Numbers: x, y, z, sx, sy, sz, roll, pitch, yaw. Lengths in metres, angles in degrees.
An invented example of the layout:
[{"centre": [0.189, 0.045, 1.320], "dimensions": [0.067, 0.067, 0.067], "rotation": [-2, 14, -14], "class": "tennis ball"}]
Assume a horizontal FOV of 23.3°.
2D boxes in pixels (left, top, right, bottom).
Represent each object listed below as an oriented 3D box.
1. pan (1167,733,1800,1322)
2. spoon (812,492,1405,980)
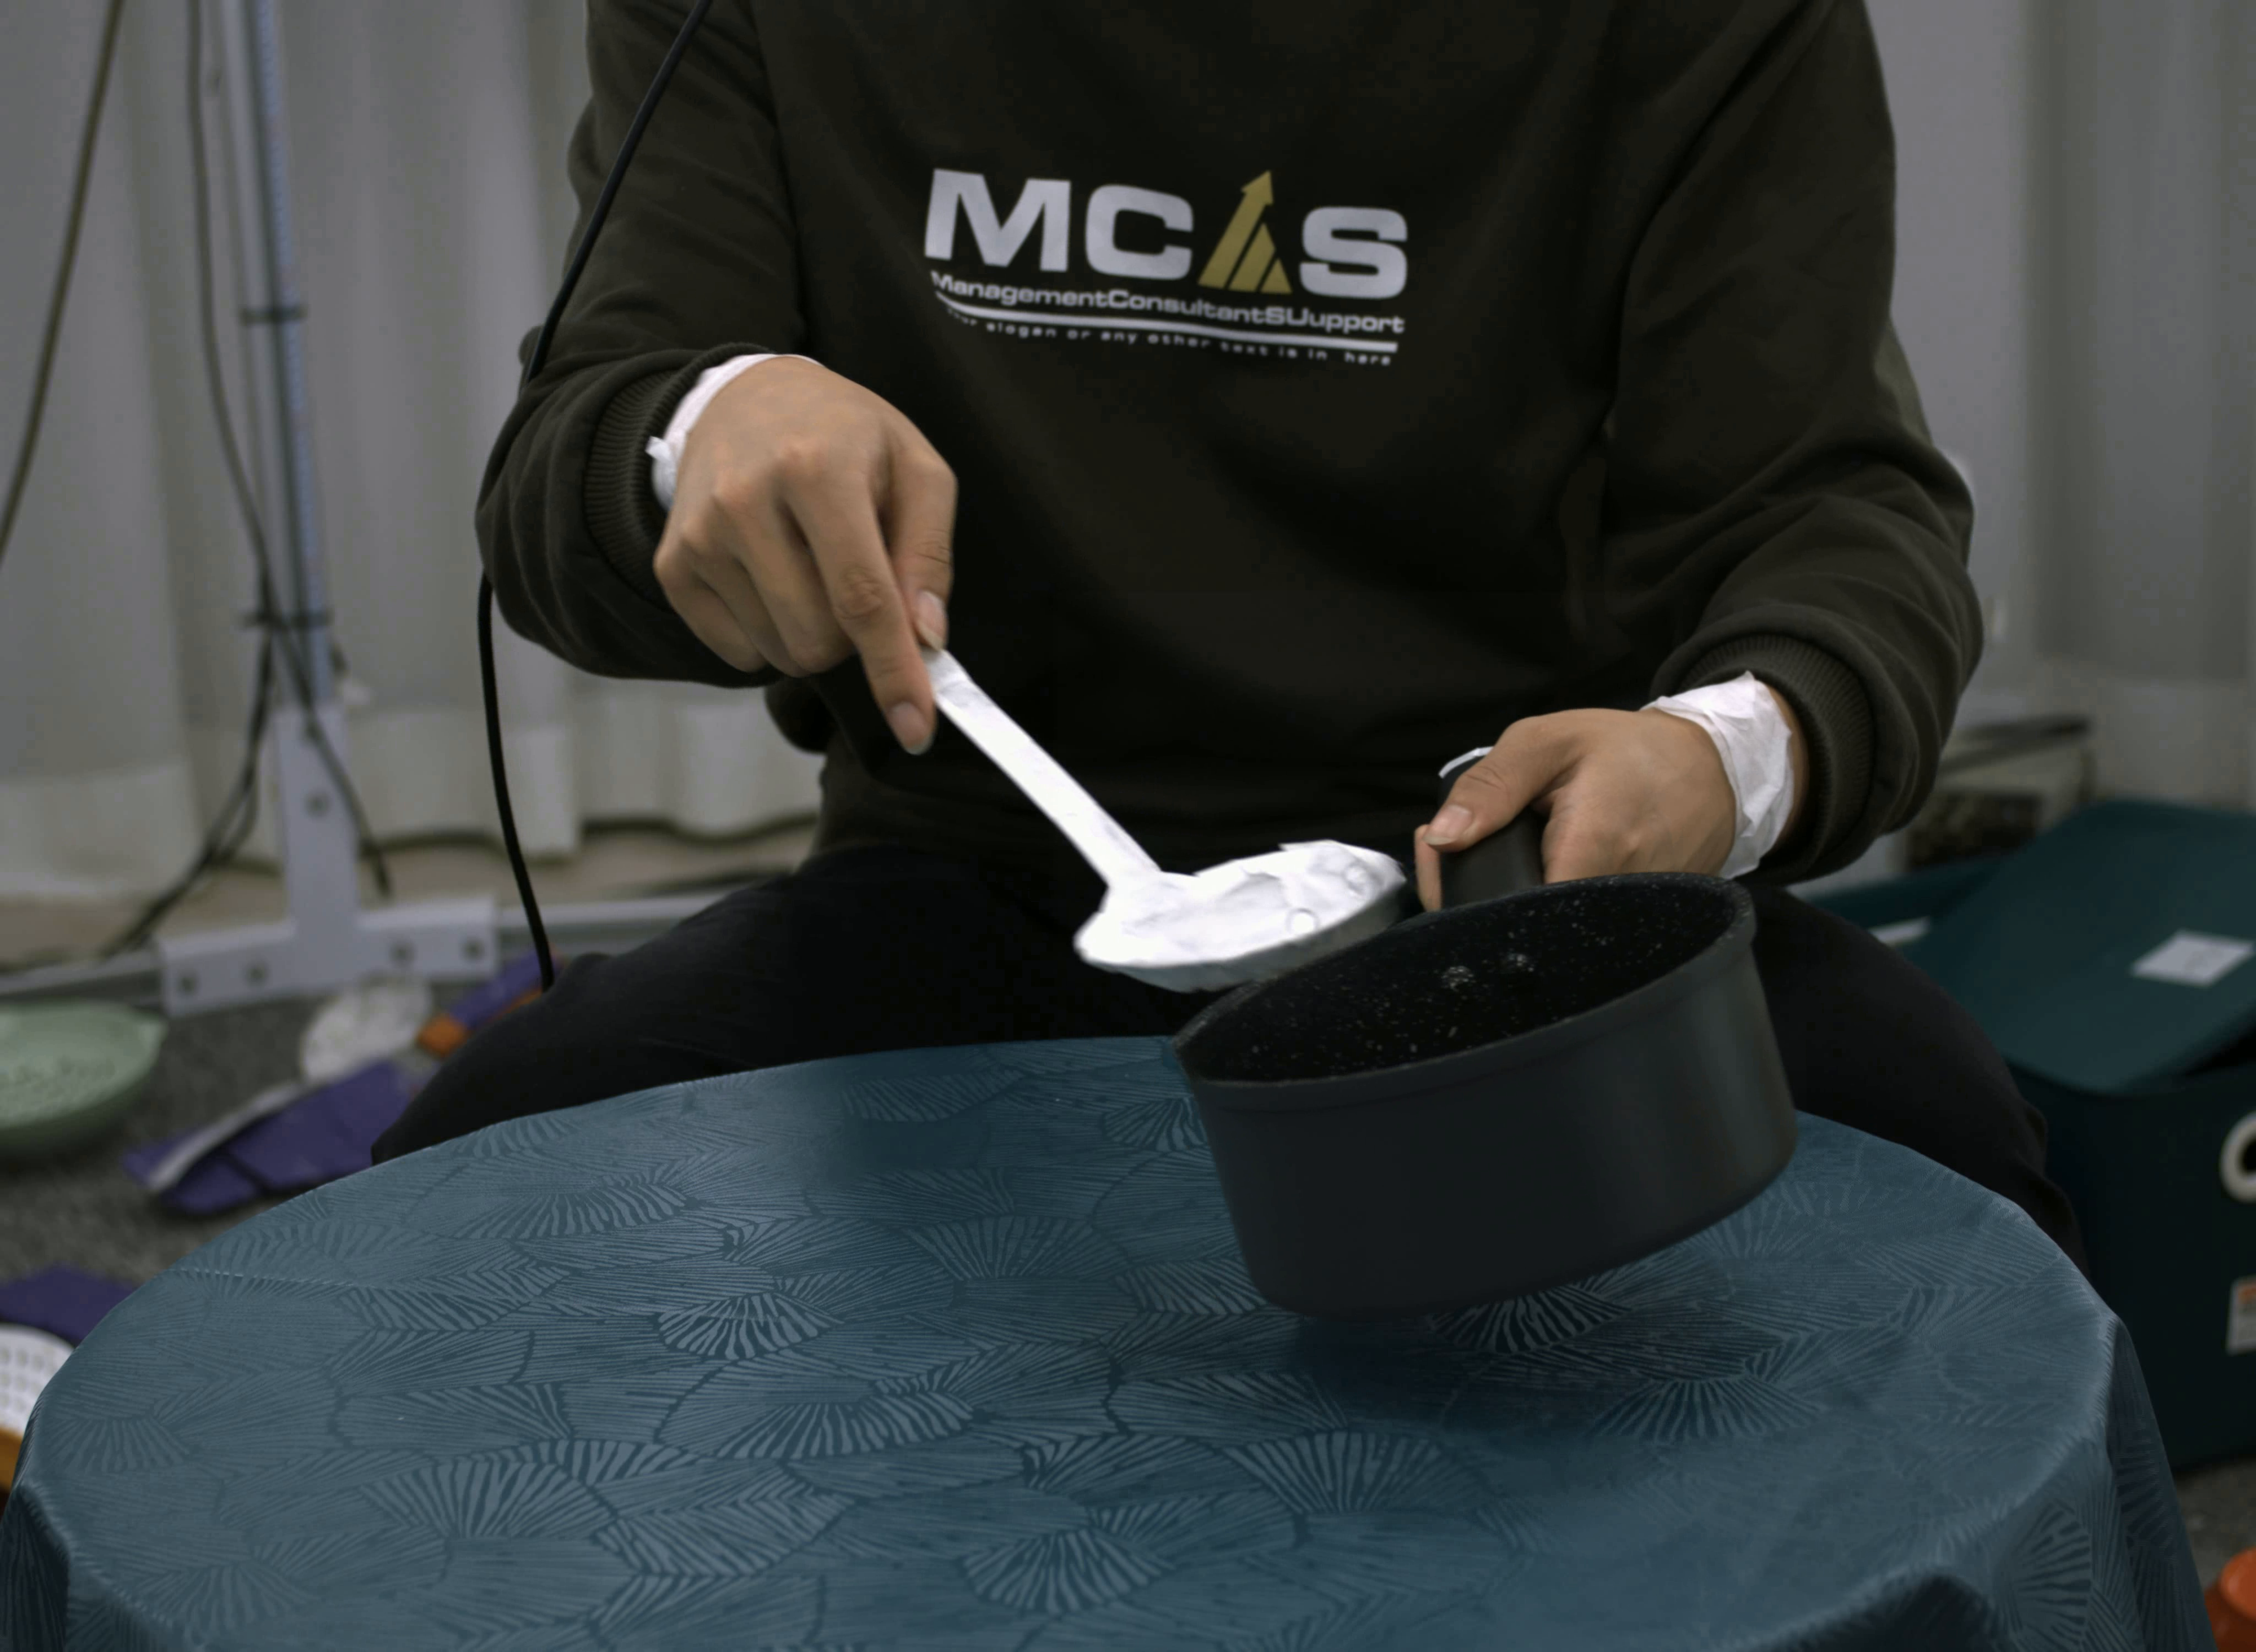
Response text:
[{"centre": [0.113, 0.054, 1.629], "dimensions": [0.171, 0.086, 0.330], "rotation": [-12, 13, 12], "class": "pan"}, {"centre": [-0.016, -0.039, 1.607], "dimensions": [0.100, 0.059, 0.281], "rotation": [-15, 45, -28], "class": "spoon"}]
